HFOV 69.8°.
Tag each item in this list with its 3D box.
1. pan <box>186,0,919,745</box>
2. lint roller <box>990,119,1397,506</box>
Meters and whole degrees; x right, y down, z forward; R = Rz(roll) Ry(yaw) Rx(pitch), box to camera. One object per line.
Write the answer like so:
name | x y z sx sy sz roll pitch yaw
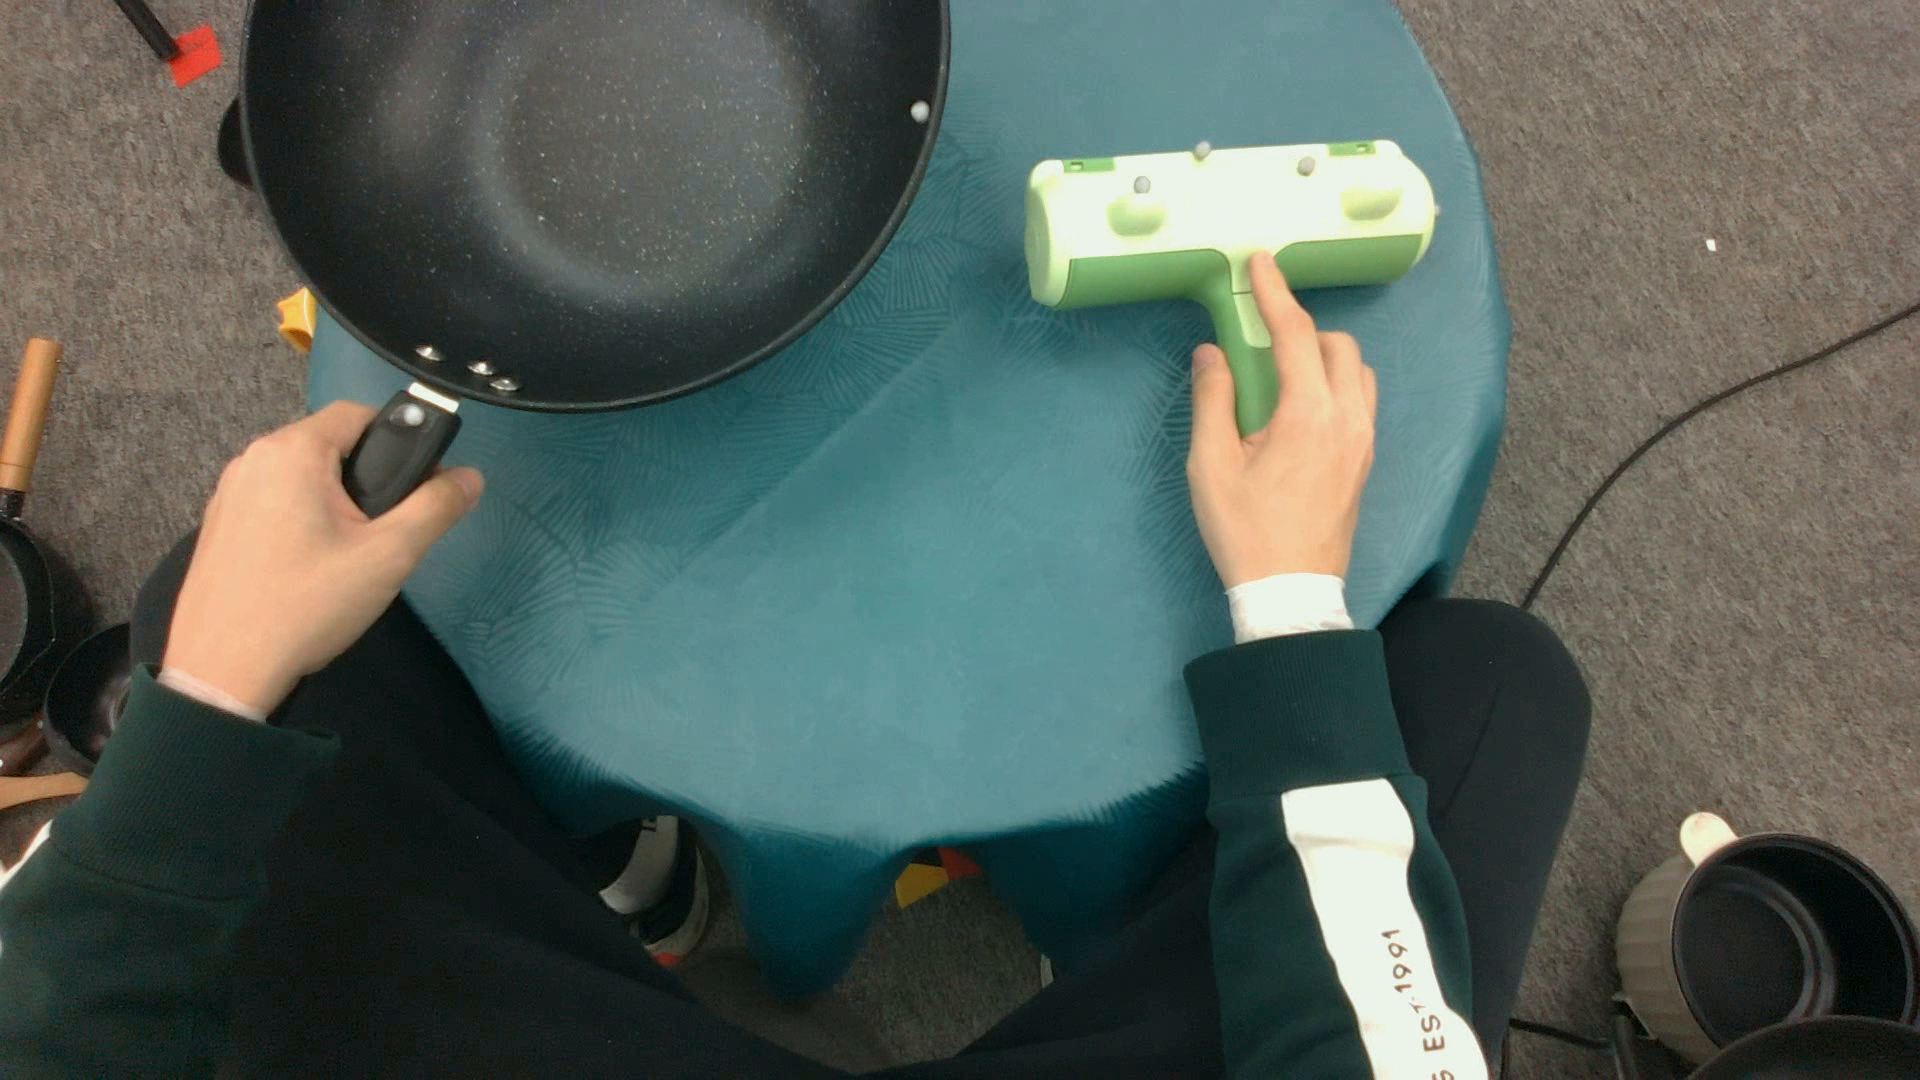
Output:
pan | -0.199 -0.135 0.608 0.310 0.111 0.477 21 85 8
lint roller | 0.126 -0.112 0.640 0.199 0.082 0.184 -8 70 -13
